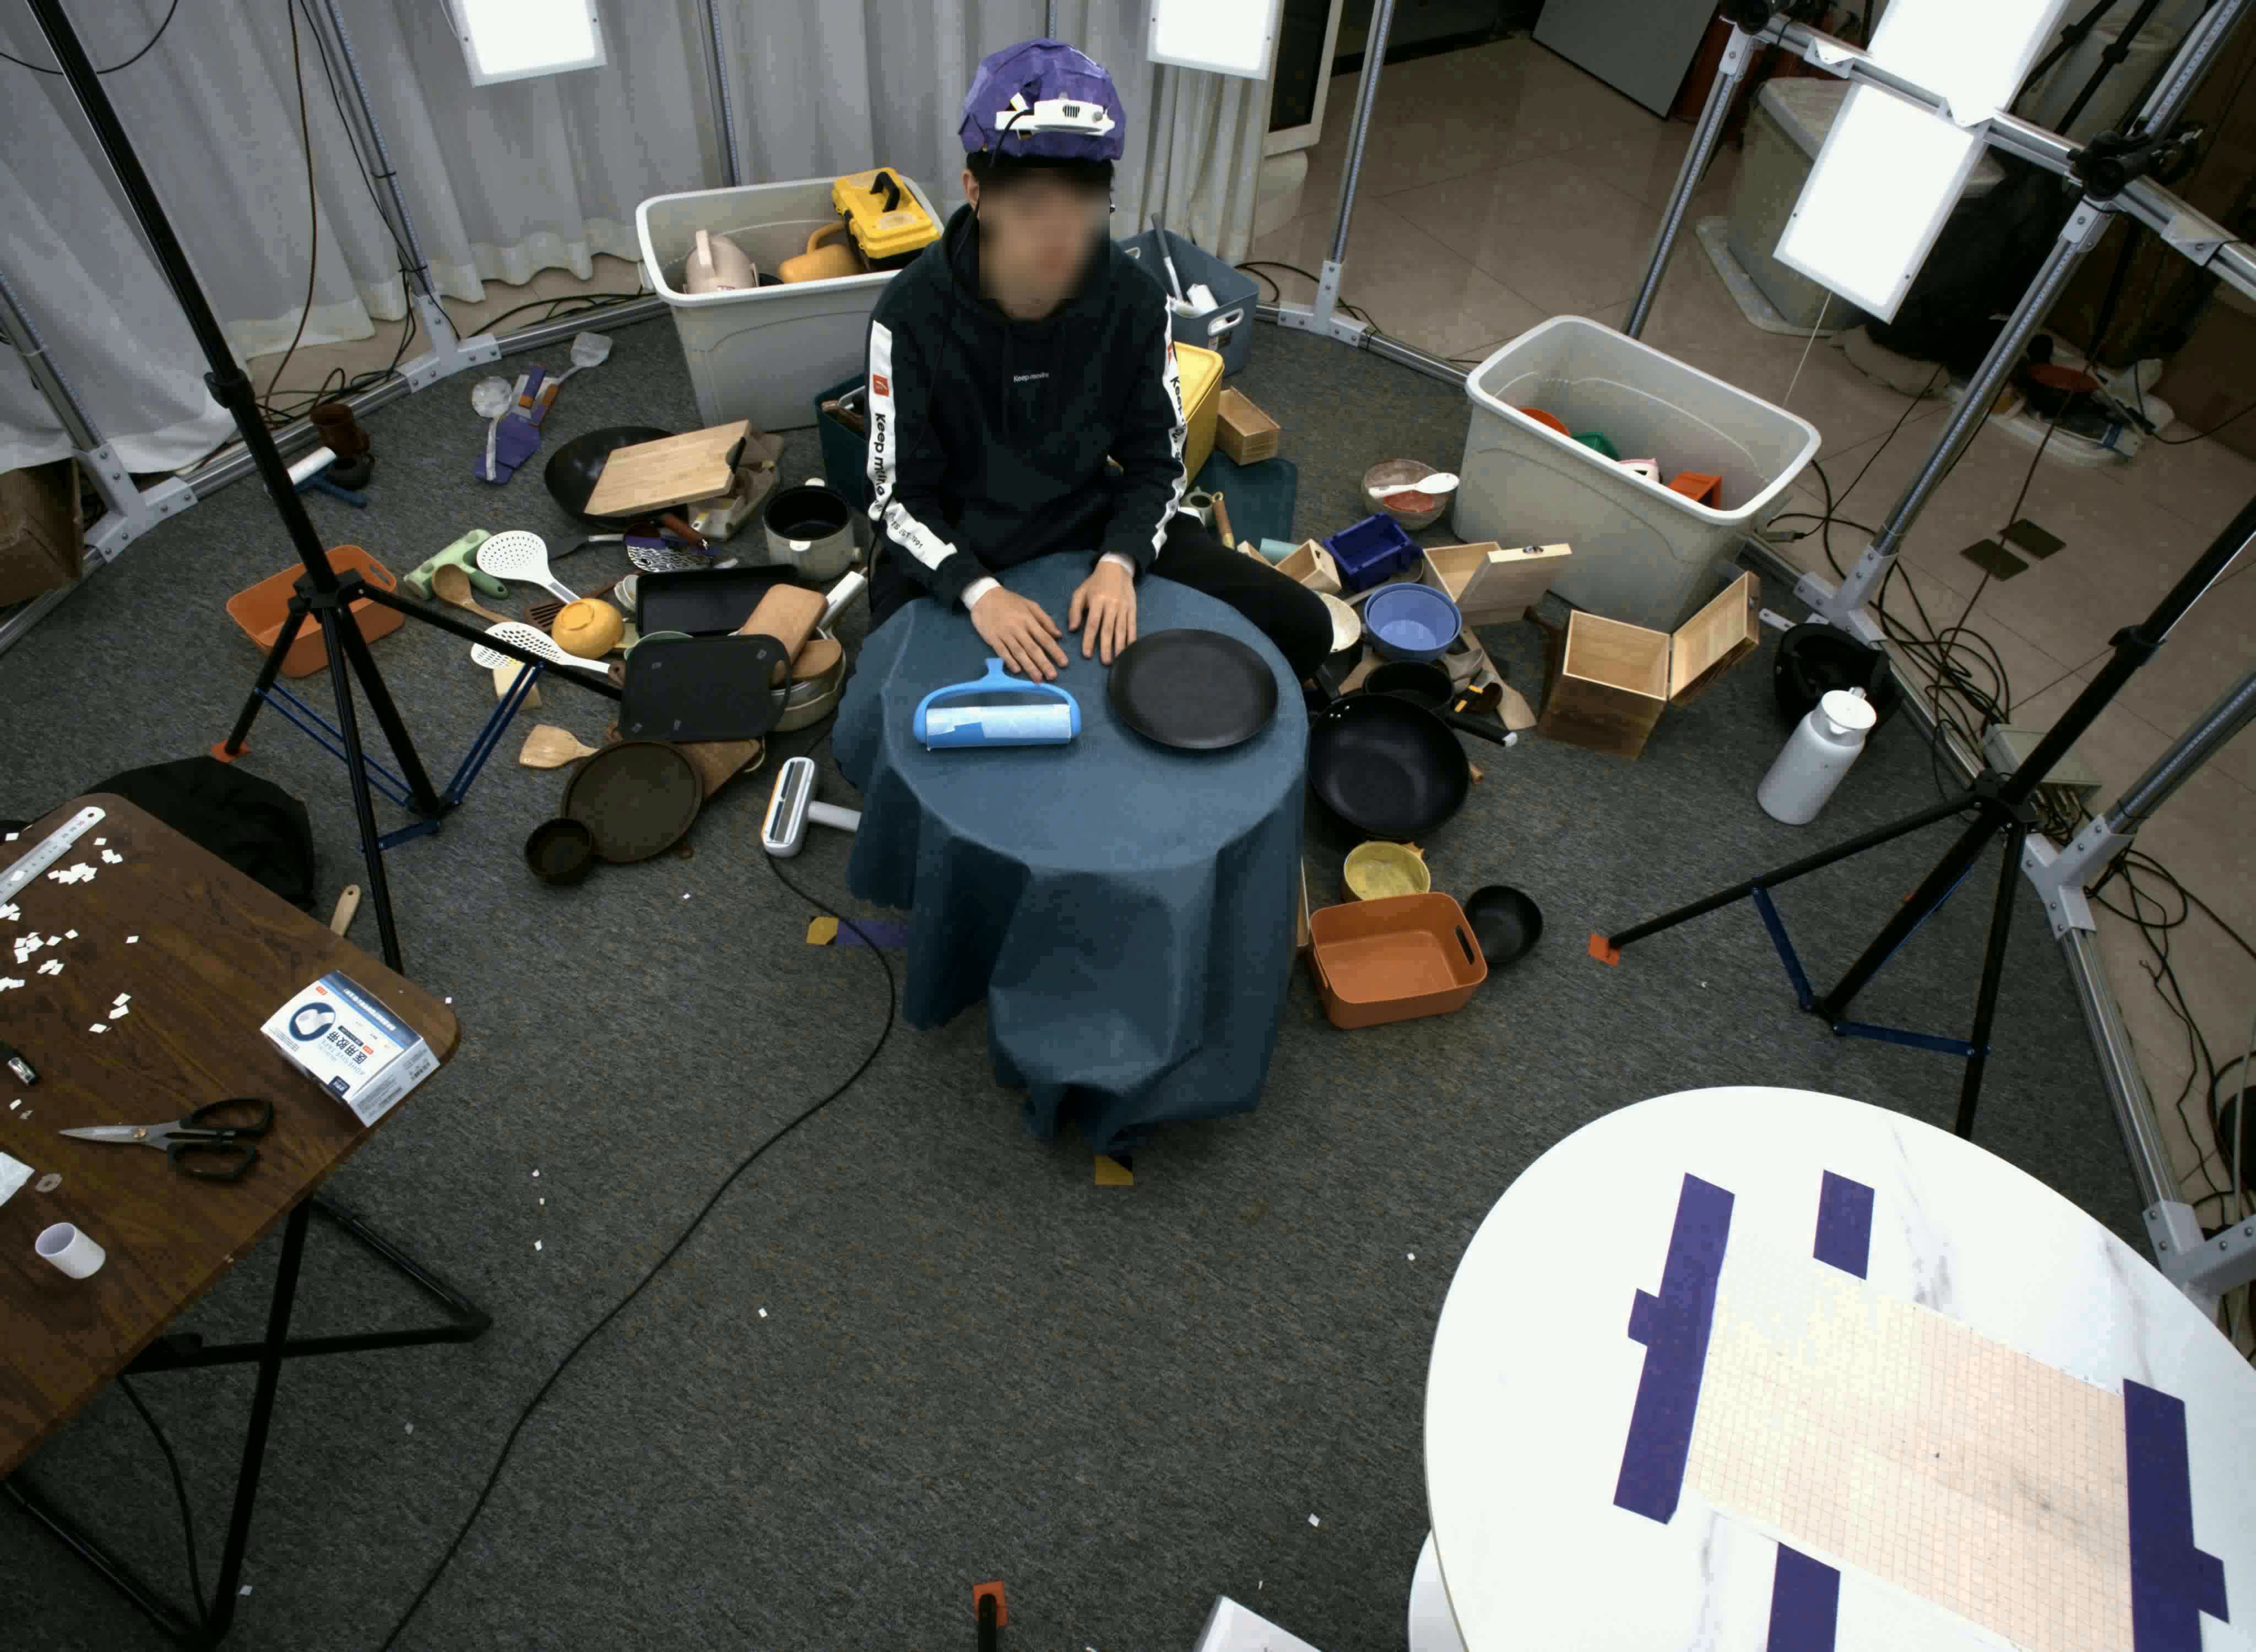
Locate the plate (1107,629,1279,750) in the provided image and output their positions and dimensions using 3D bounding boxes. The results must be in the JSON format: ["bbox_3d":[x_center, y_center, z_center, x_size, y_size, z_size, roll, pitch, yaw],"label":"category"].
[{"bbox_3d":[0.092,-0.191,1.825,0.244,0.023,0.250,2,49,-2],"label":"plate"}]

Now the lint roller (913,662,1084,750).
[{"bbox_3d":[-0.183,-0.180,1.776,0.228,0.066,0.185,-5,50,-7],"label":"lint roller"}]
